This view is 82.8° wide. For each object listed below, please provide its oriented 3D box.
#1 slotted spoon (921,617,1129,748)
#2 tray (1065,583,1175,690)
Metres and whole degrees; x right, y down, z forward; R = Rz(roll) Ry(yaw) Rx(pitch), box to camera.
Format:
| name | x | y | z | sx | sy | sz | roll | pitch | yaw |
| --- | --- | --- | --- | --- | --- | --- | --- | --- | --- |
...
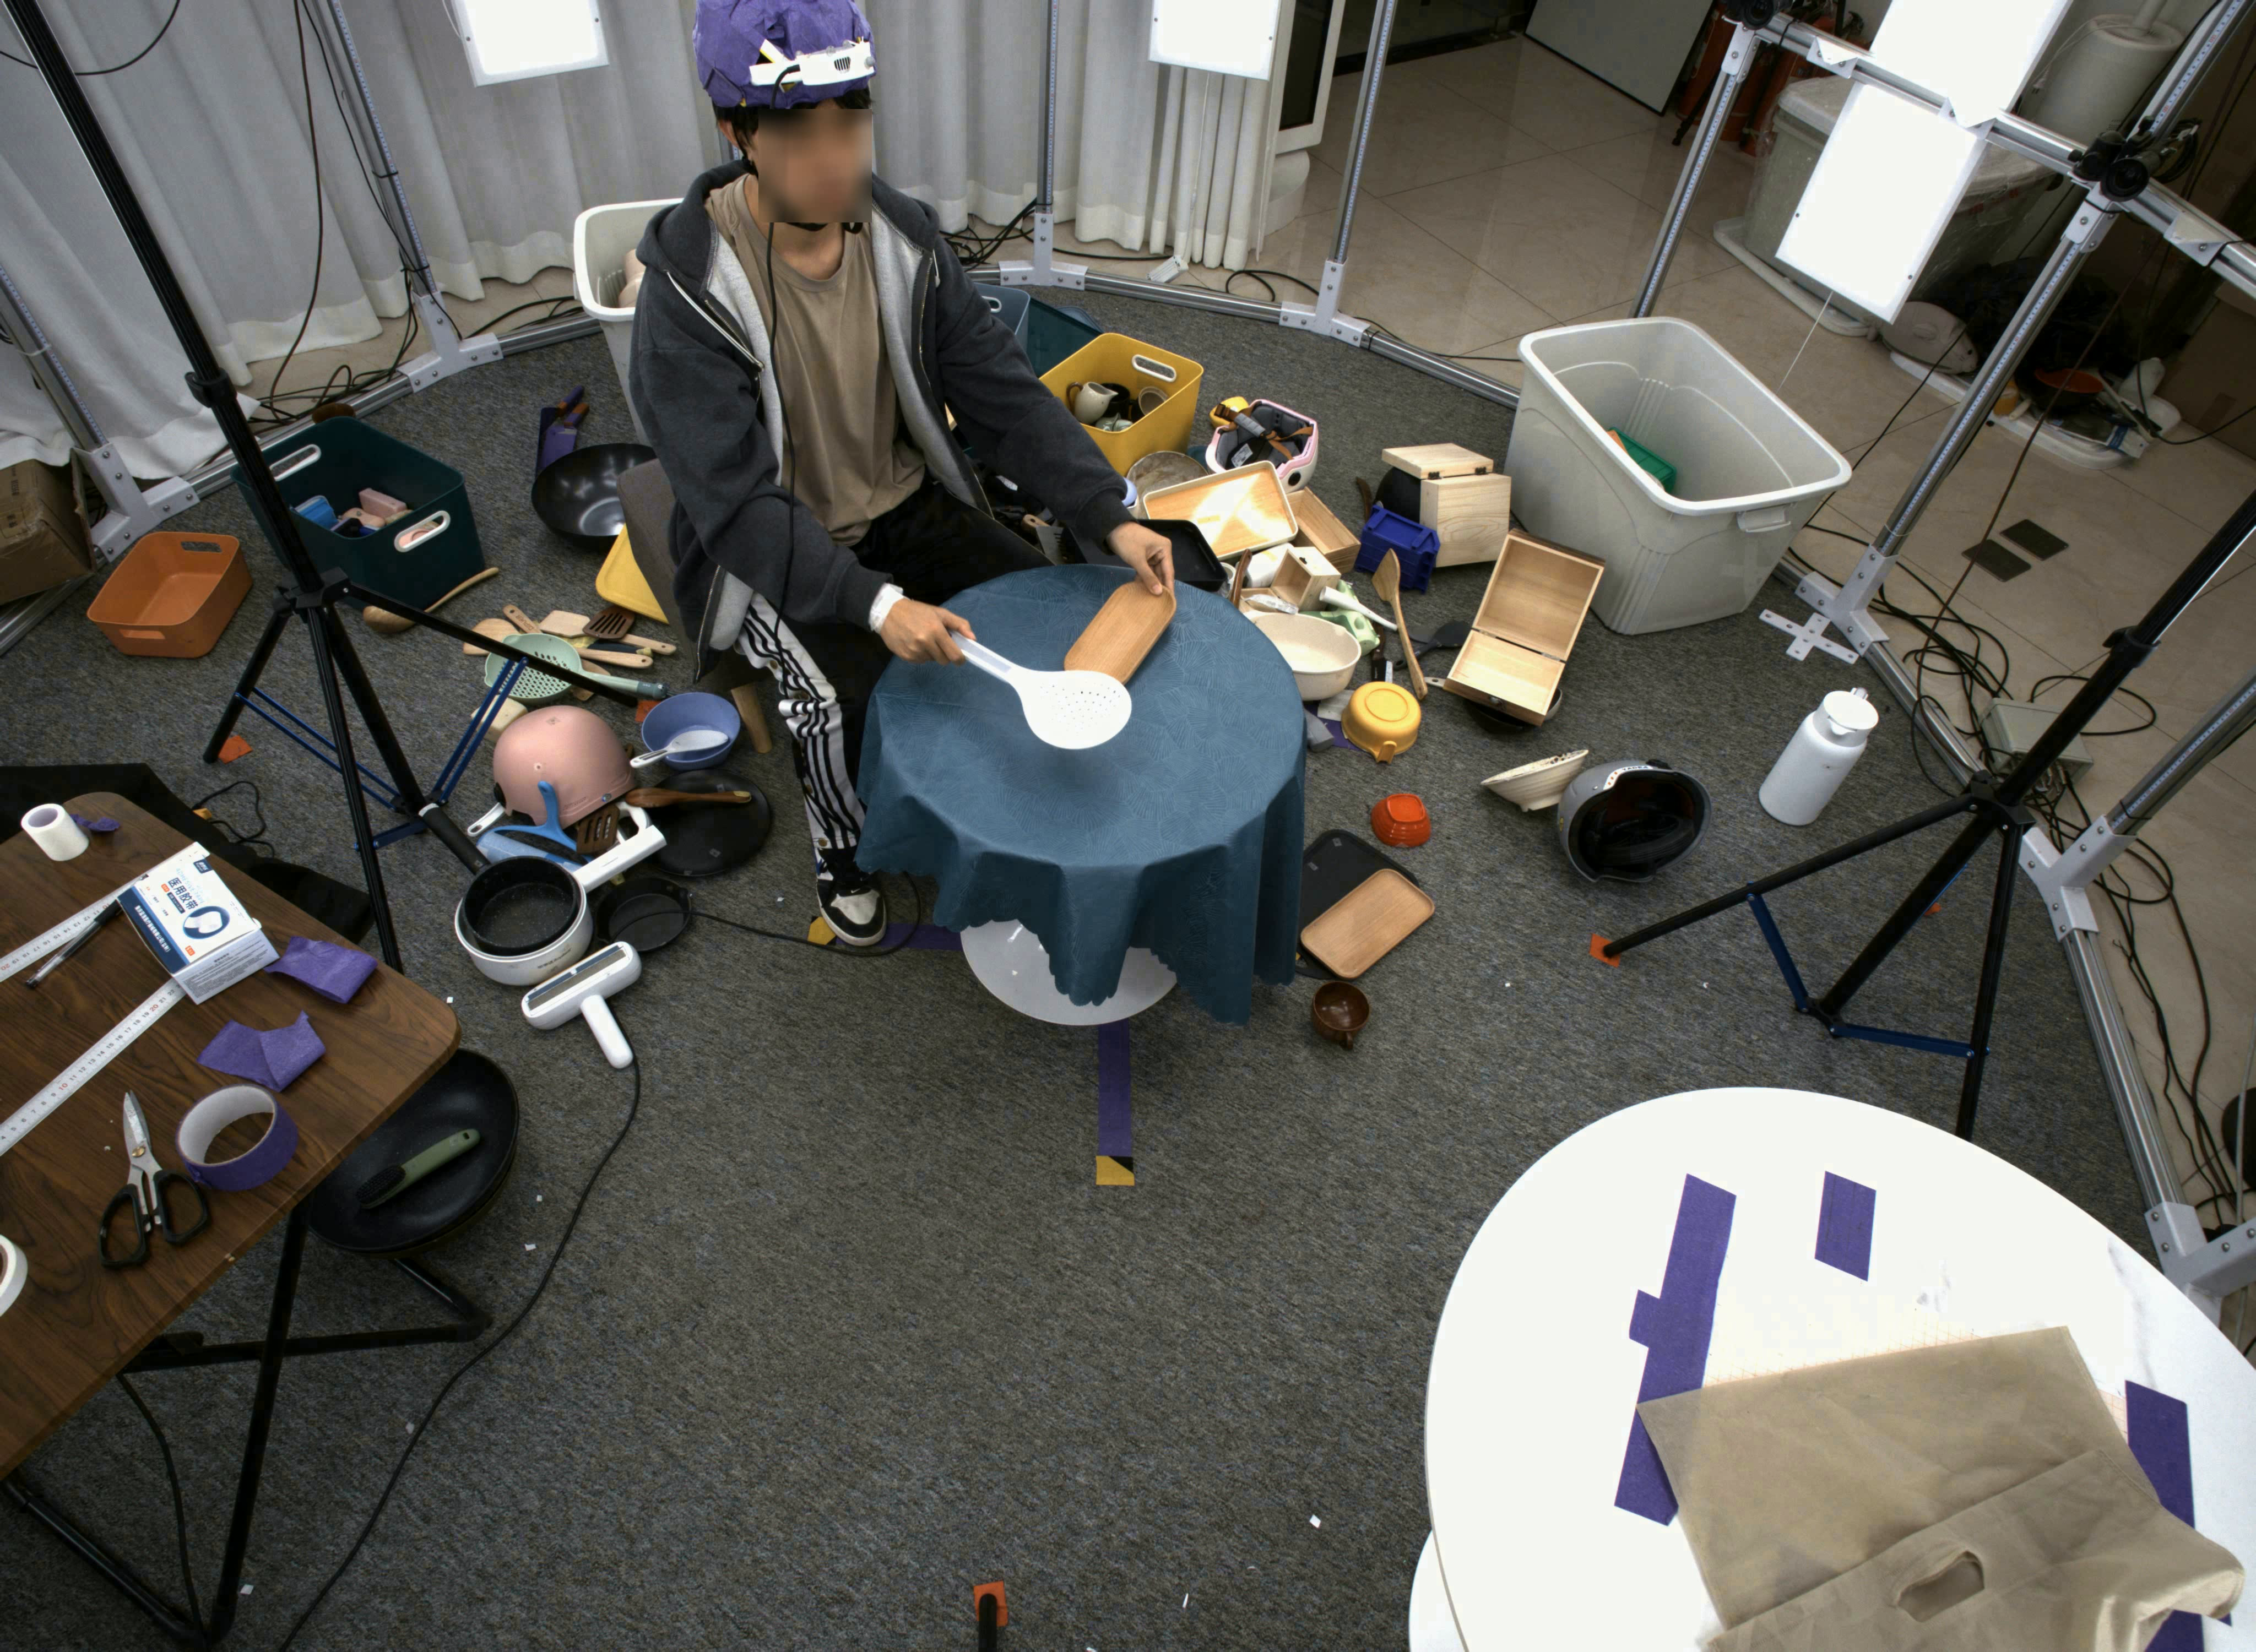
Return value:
| name | x | y | z | sx | sy | sz | roll | pitch | yaw |
| --- | --- | --- | --- | --- | --- | --- | --- | --- | --- |
| slotted spoon | -0.148 | -0.200 | 1.721 | 0.354 | 0.044 | 0.137 | 33 | 61 | 24 |
| tray | -0.010 | -0.274 | 1.879 | 0.102 | 0.020 | 0.235 | 21 | 58 | 18 |
